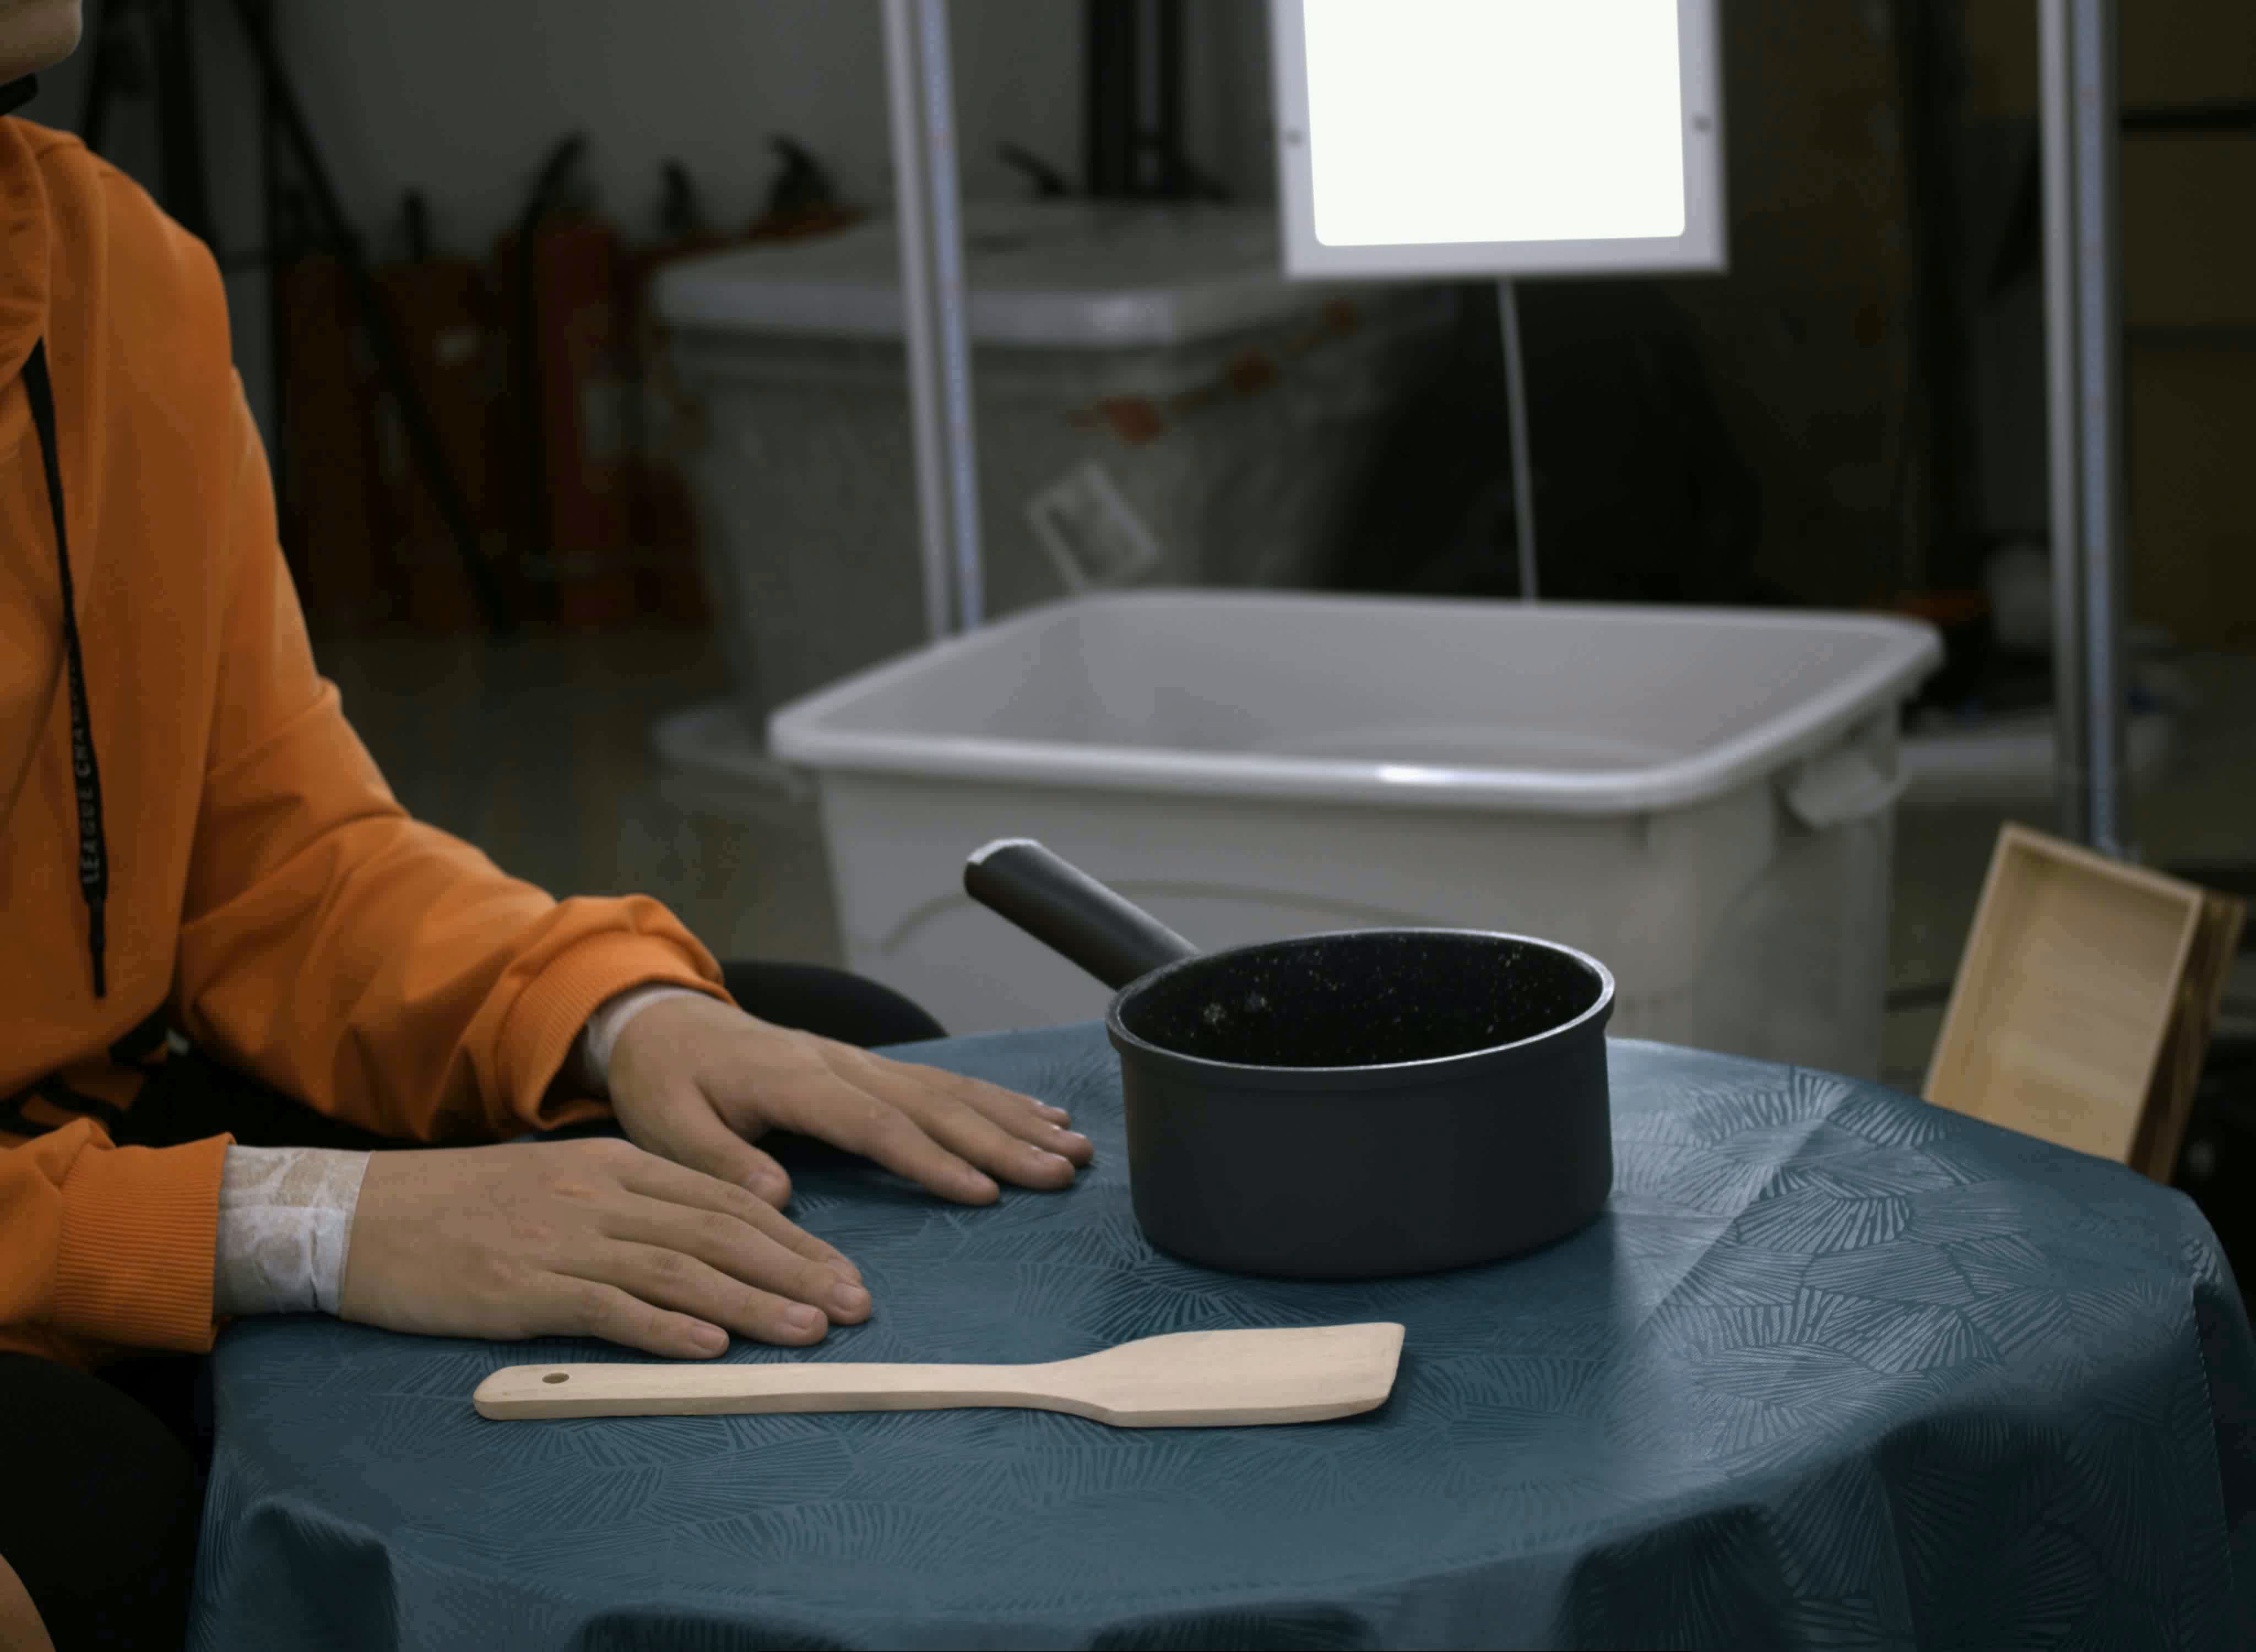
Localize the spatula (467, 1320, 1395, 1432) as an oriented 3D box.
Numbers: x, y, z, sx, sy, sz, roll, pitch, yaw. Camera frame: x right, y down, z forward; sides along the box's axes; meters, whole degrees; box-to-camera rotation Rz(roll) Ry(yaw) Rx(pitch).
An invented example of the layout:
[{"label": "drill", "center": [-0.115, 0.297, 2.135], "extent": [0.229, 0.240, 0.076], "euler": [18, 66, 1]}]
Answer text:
[{"label": "spatula", "center": [-0.064, 0.173, 1.712], "extent": [0.295, 0.011, 0.071], "euler": [-2, 18, 12]}]

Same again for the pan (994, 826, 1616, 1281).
[{"label": "pan", "center": [0.042, 0.075, 1.916], "extent": [0.168, 0.087, 0.334], "euler": [-11, 17, -26]}]
